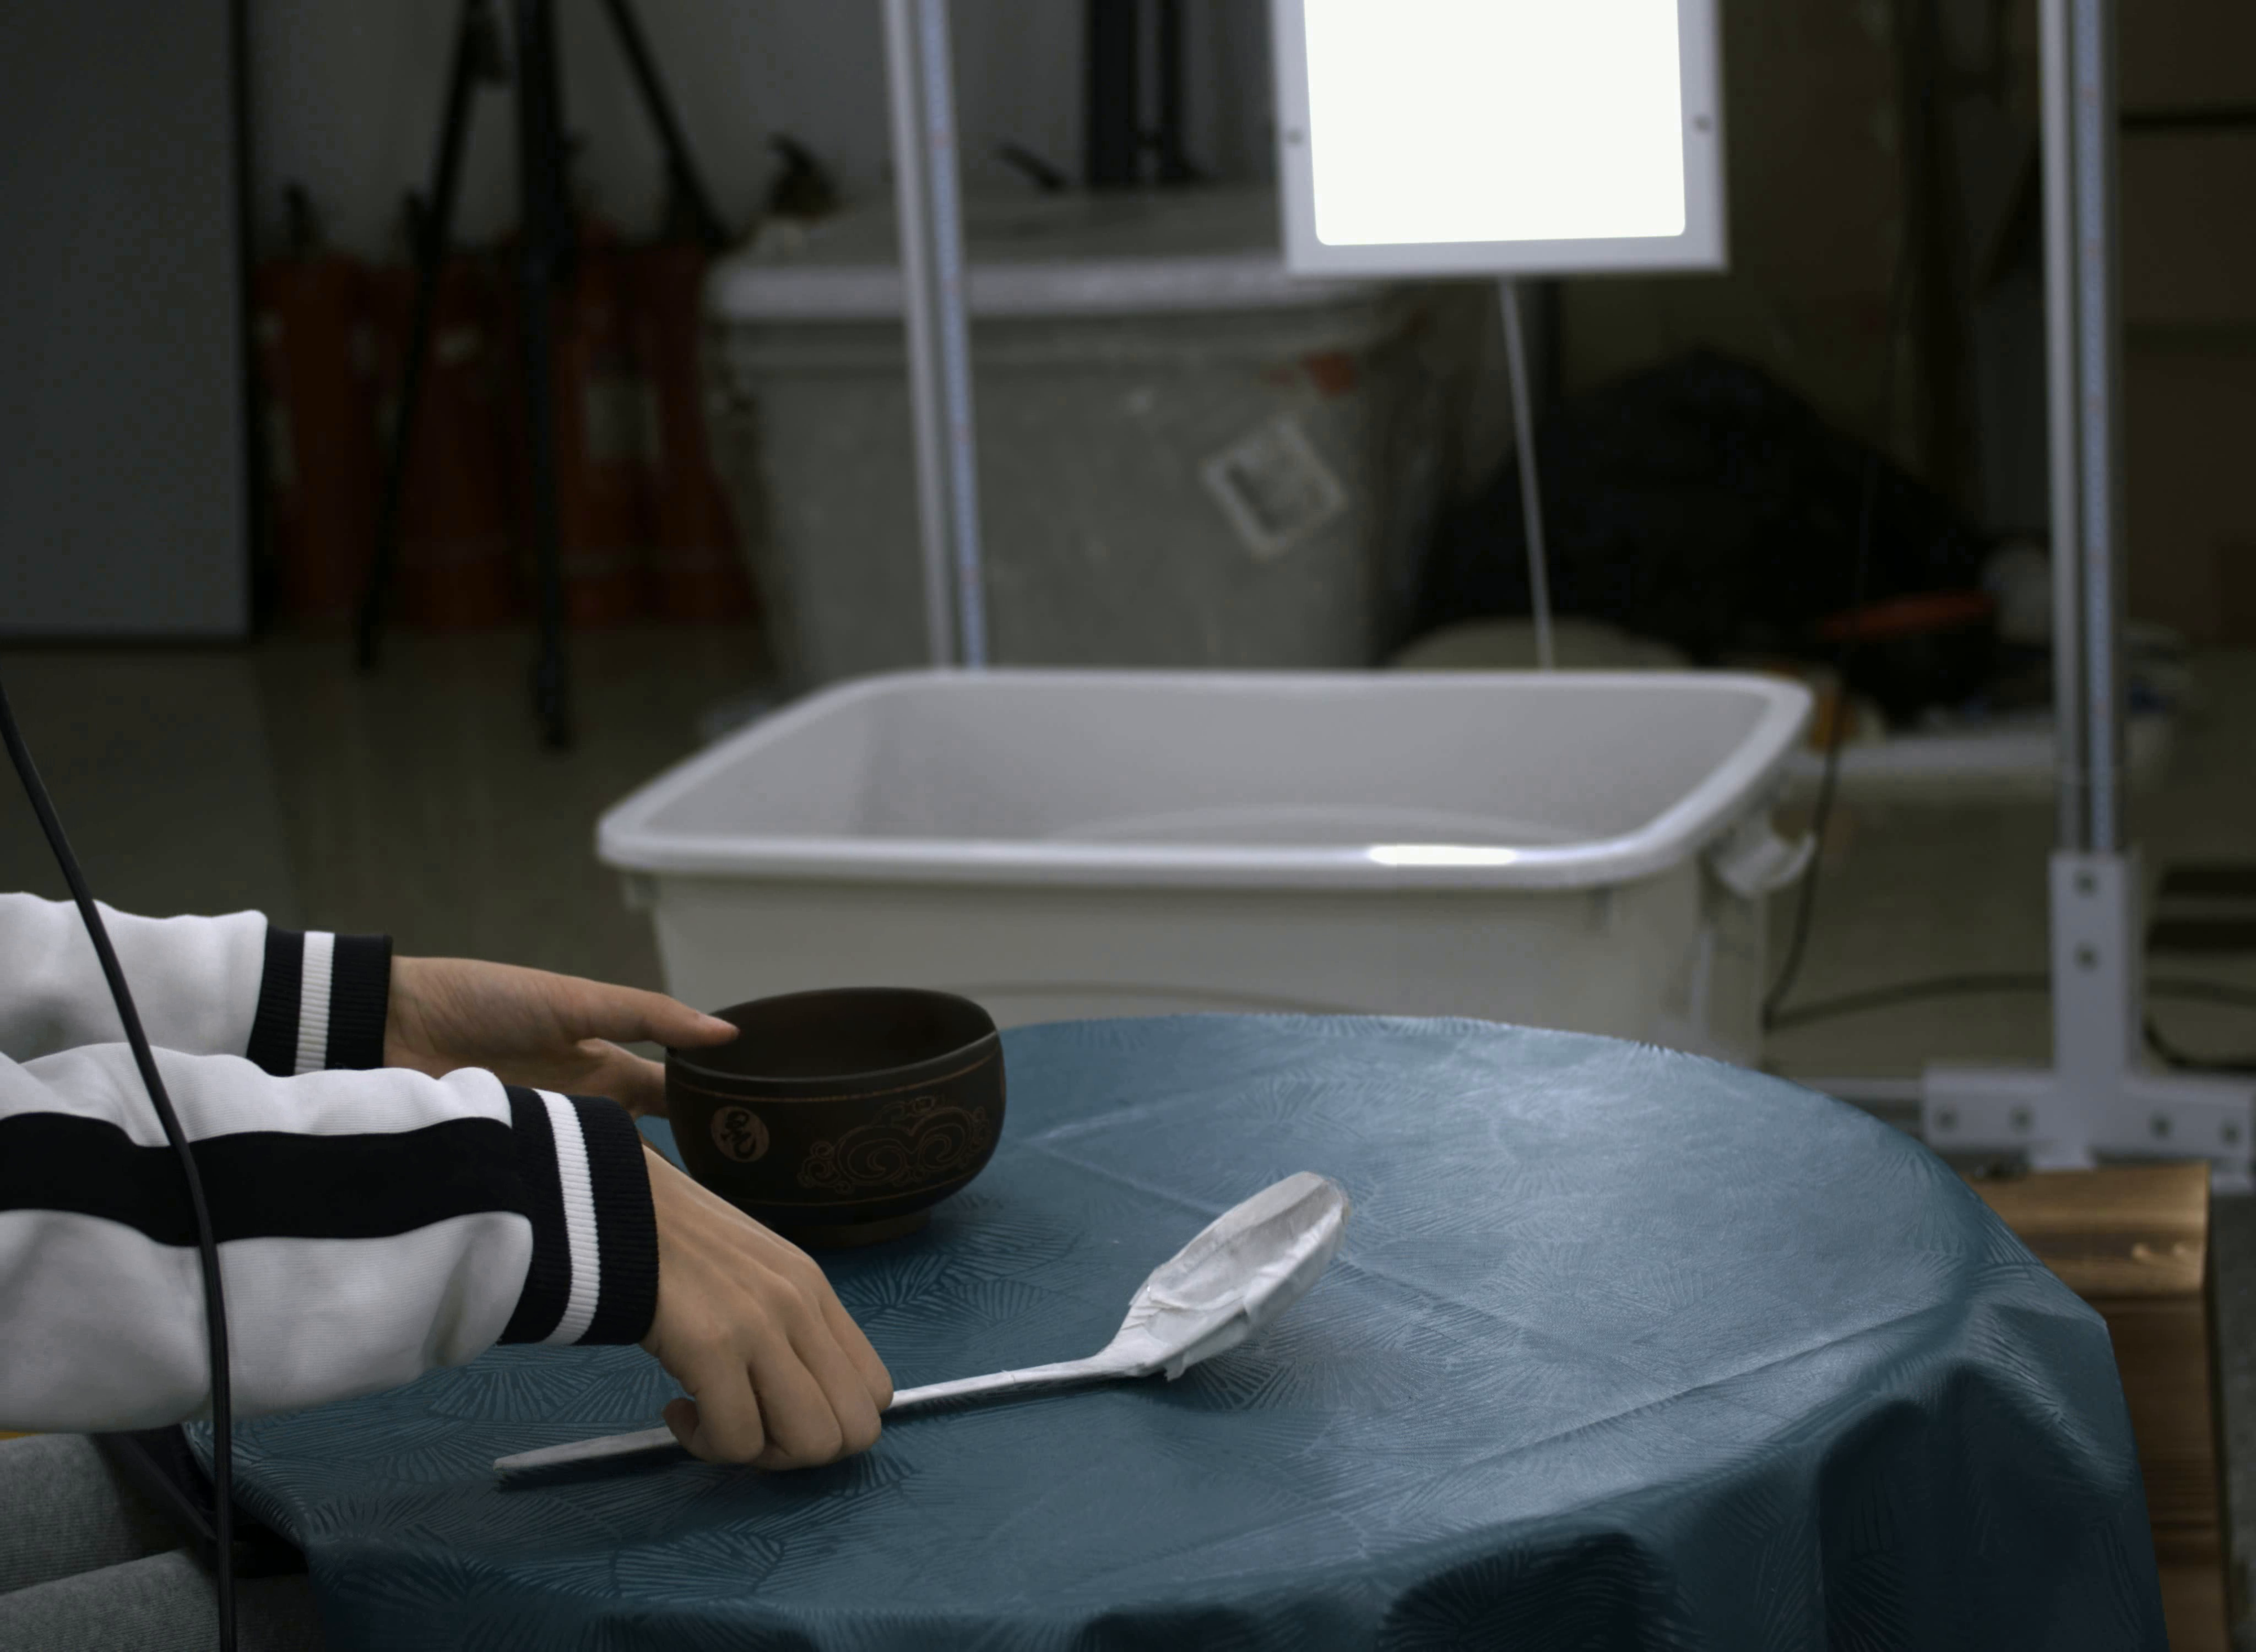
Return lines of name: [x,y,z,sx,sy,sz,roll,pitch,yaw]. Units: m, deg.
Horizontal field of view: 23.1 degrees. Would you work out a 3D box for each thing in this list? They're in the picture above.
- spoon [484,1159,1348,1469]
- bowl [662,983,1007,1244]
spoon: [-0.065,0.150,1.705,0.274,0.059,0.101,-7,5,-10]
bowl: [-0.099,0.102,1.883,0.118,0.070,0.118,-5,13,0]
